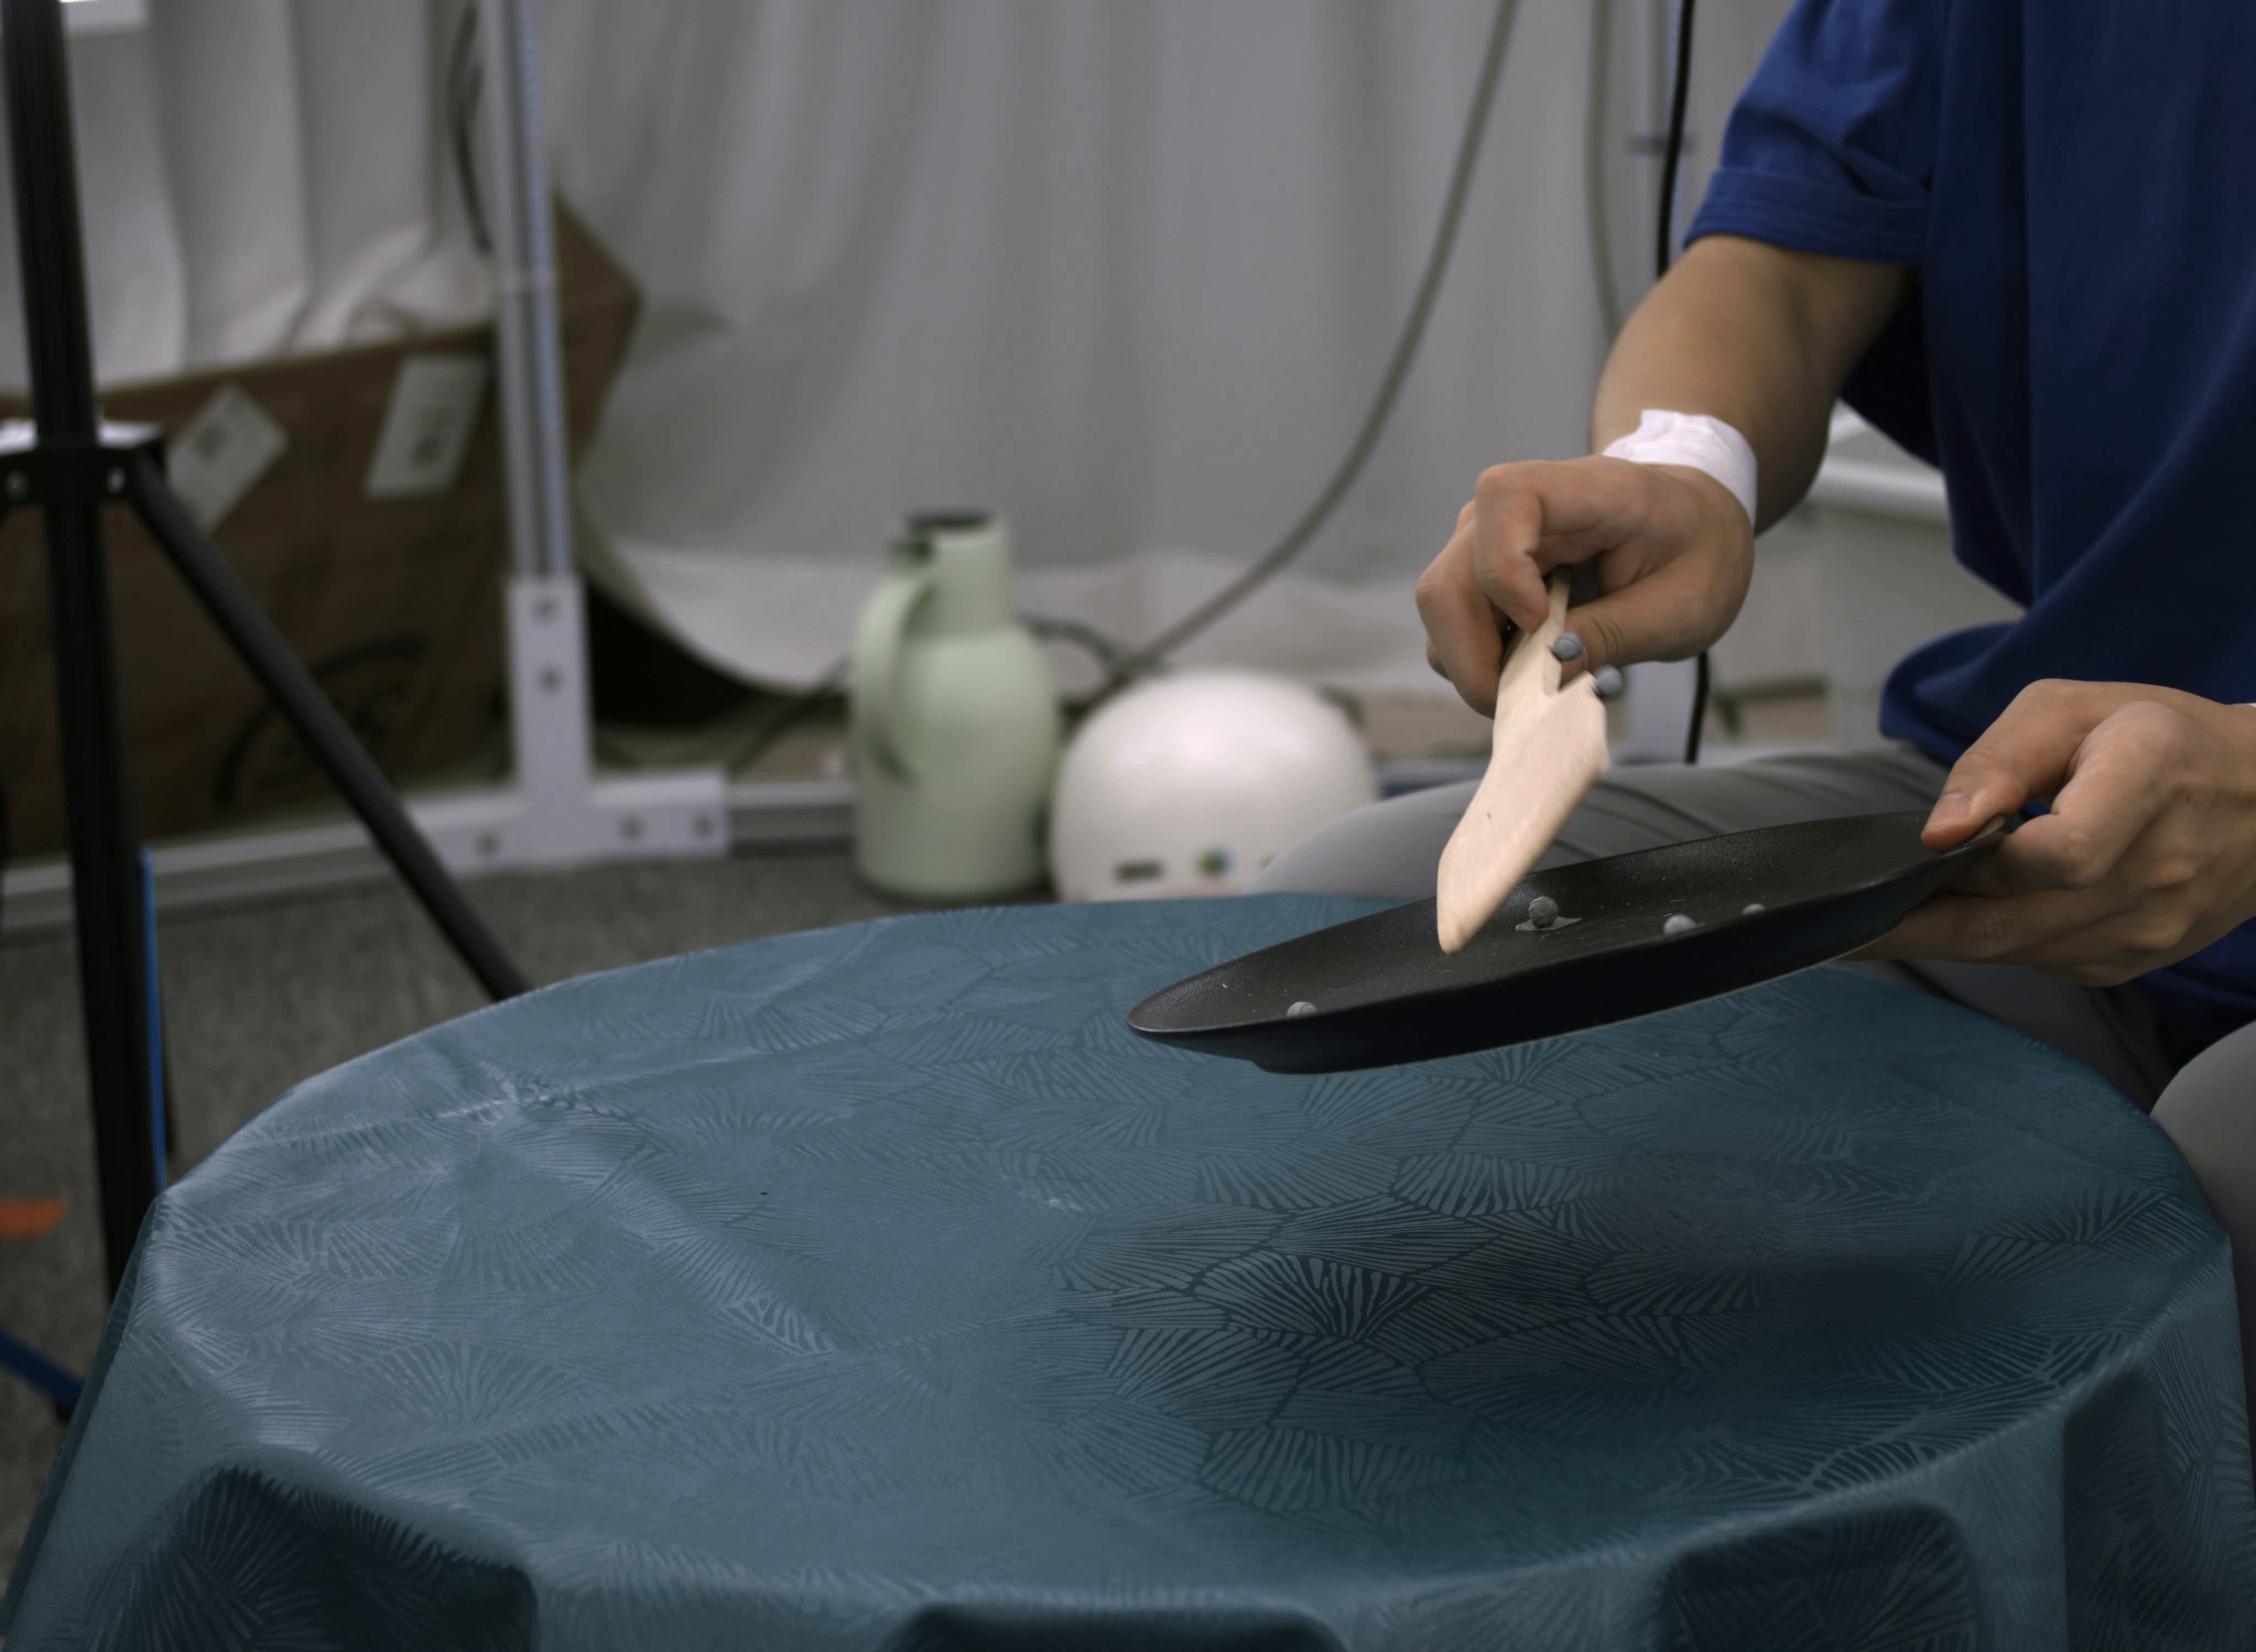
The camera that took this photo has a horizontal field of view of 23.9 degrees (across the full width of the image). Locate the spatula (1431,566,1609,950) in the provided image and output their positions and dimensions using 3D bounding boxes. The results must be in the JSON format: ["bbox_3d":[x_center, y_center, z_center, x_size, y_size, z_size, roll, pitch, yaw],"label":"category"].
[{"bbox_3d":[0.116,-0.033,1.534,0.010,0.072,0.293,37,16,-5],"label":"spatula"}]

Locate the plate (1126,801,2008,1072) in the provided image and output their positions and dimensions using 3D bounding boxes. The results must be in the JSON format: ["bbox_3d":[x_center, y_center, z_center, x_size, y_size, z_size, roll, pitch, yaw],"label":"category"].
[{"bbox_3d":[0.119,0.033,1.429,0.243,0.023,0.245,-14,4,-1],"label":"plate"}]
